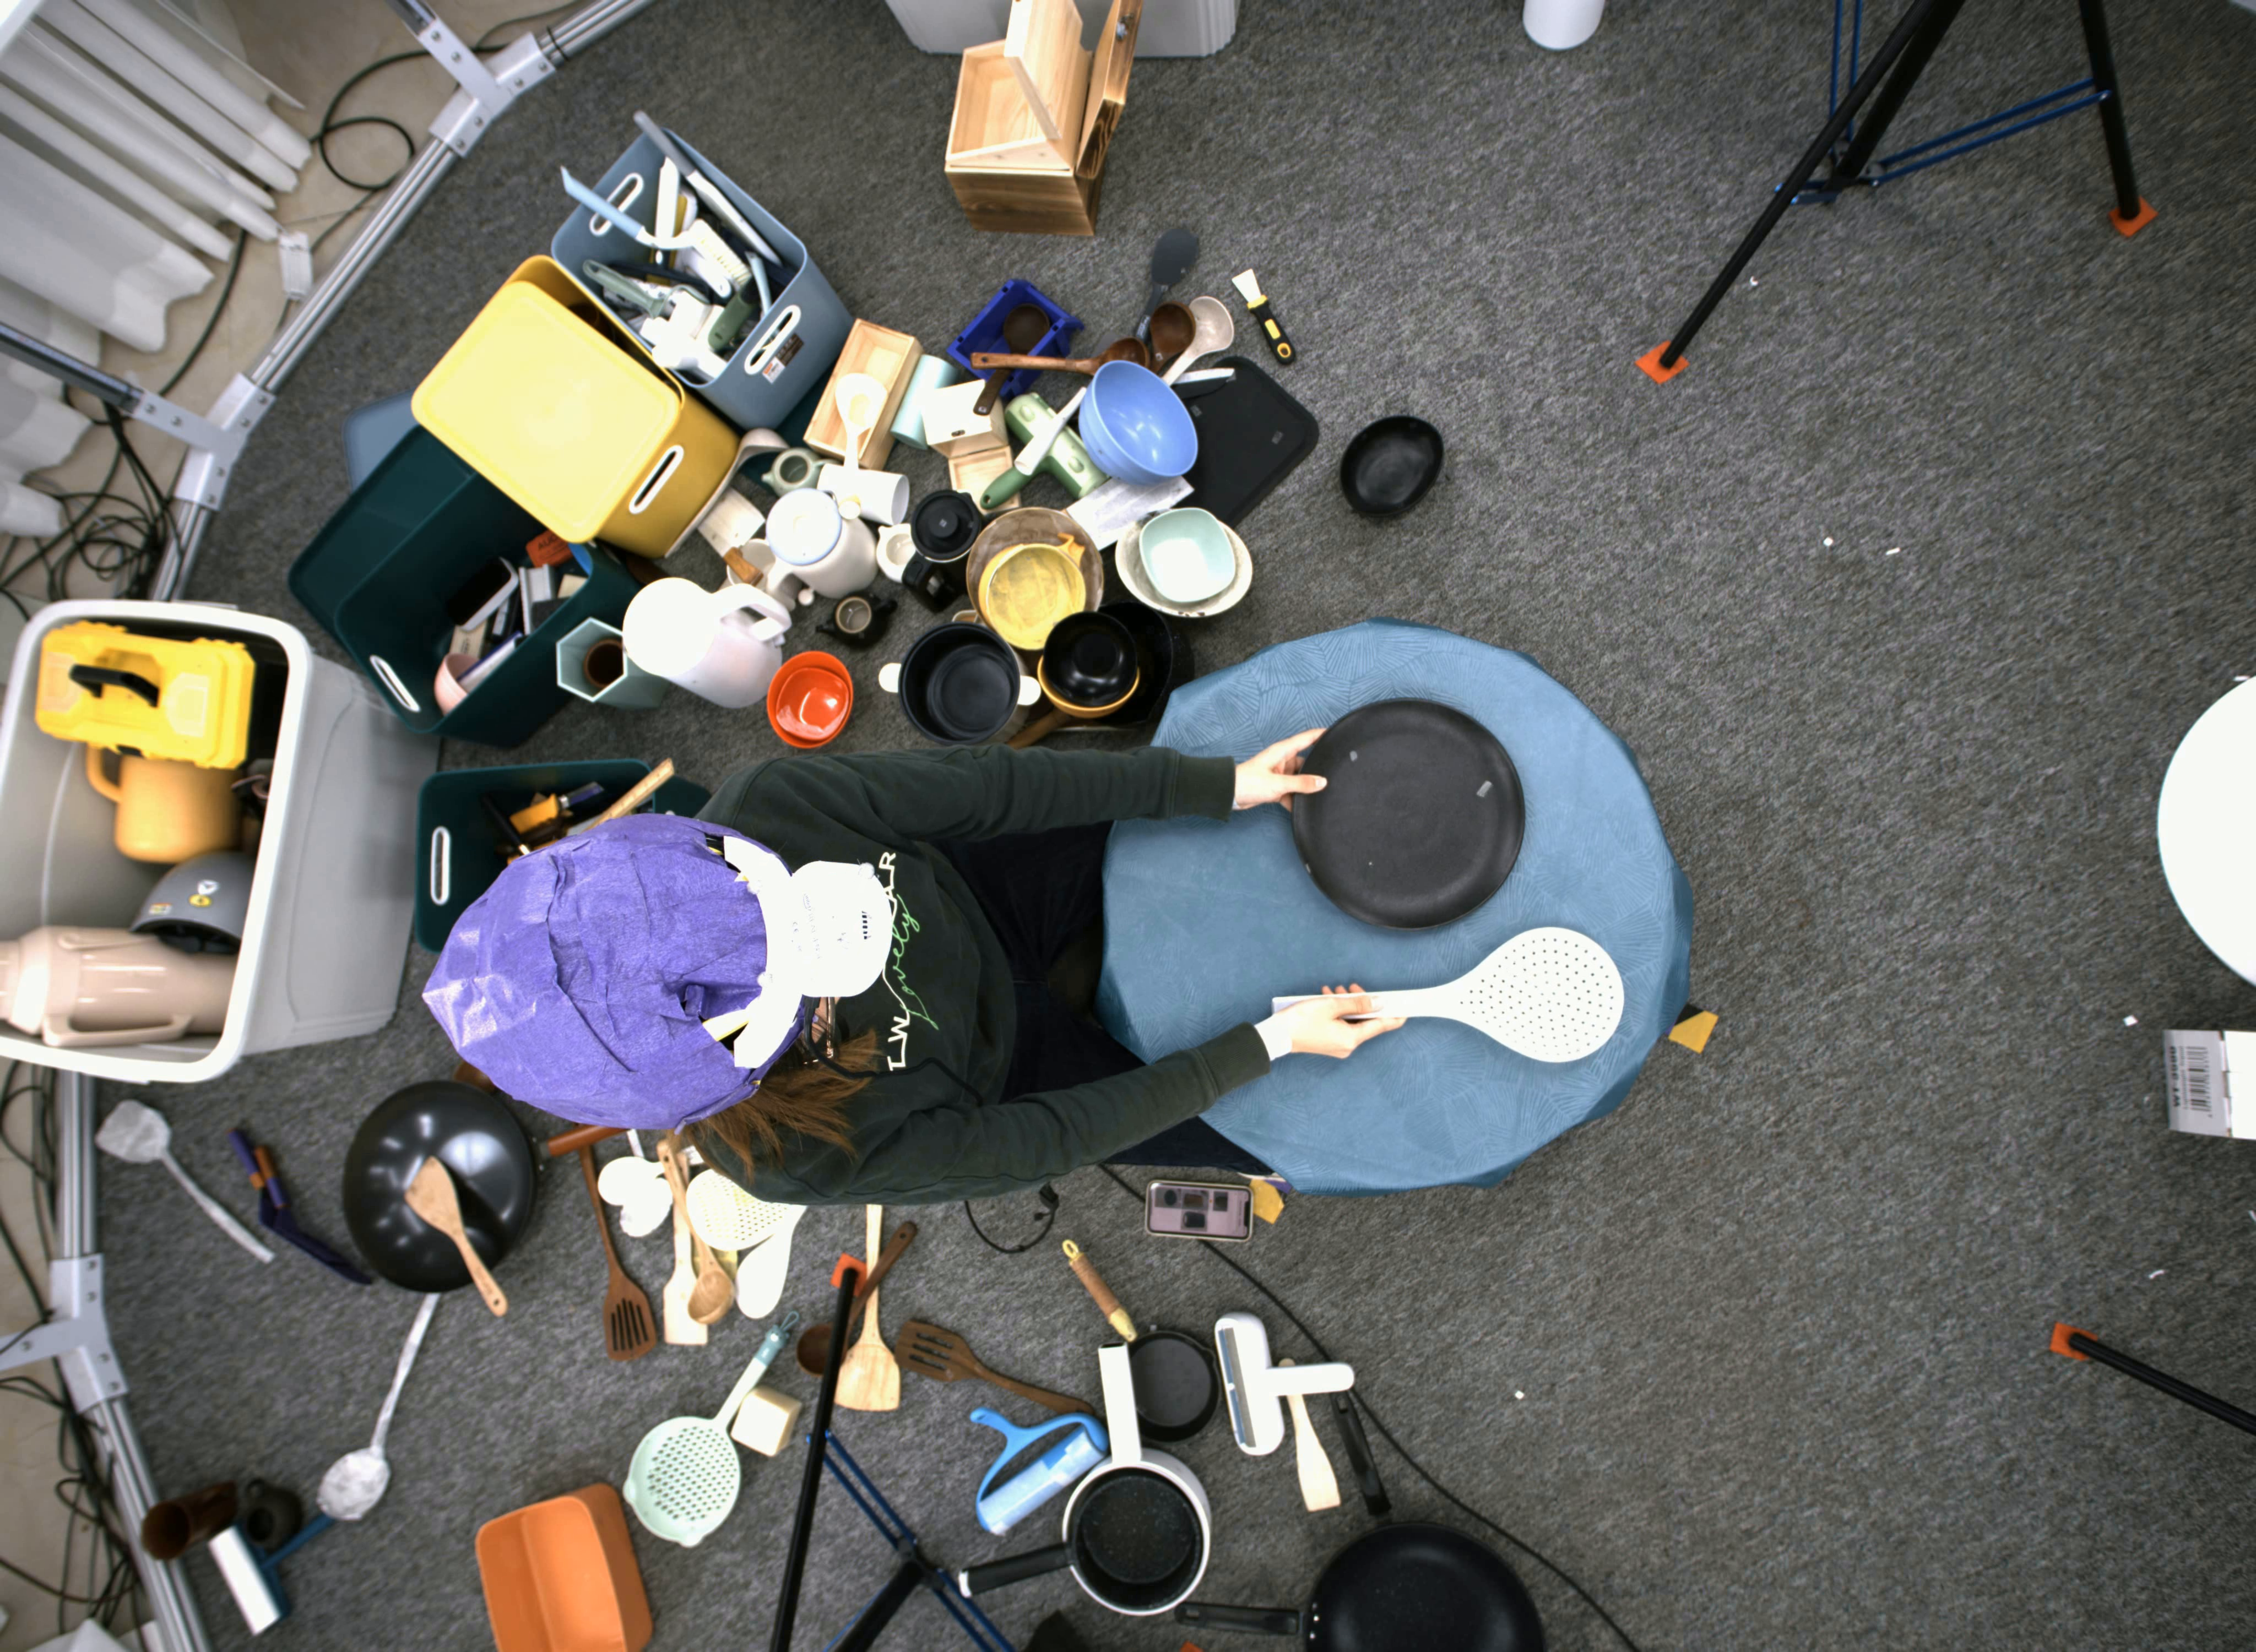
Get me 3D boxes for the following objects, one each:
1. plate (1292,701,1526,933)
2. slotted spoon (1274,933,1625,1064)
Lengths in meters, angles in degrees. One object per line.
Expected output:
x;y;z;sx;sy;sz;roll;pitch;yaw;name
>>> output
0.293;-0.011;1.442;0.245;0.023;0.244;0;89;3;plate
0.325;0.181;1.413;0.351;0.046;0.134;-3;72;6;slotted spoon
